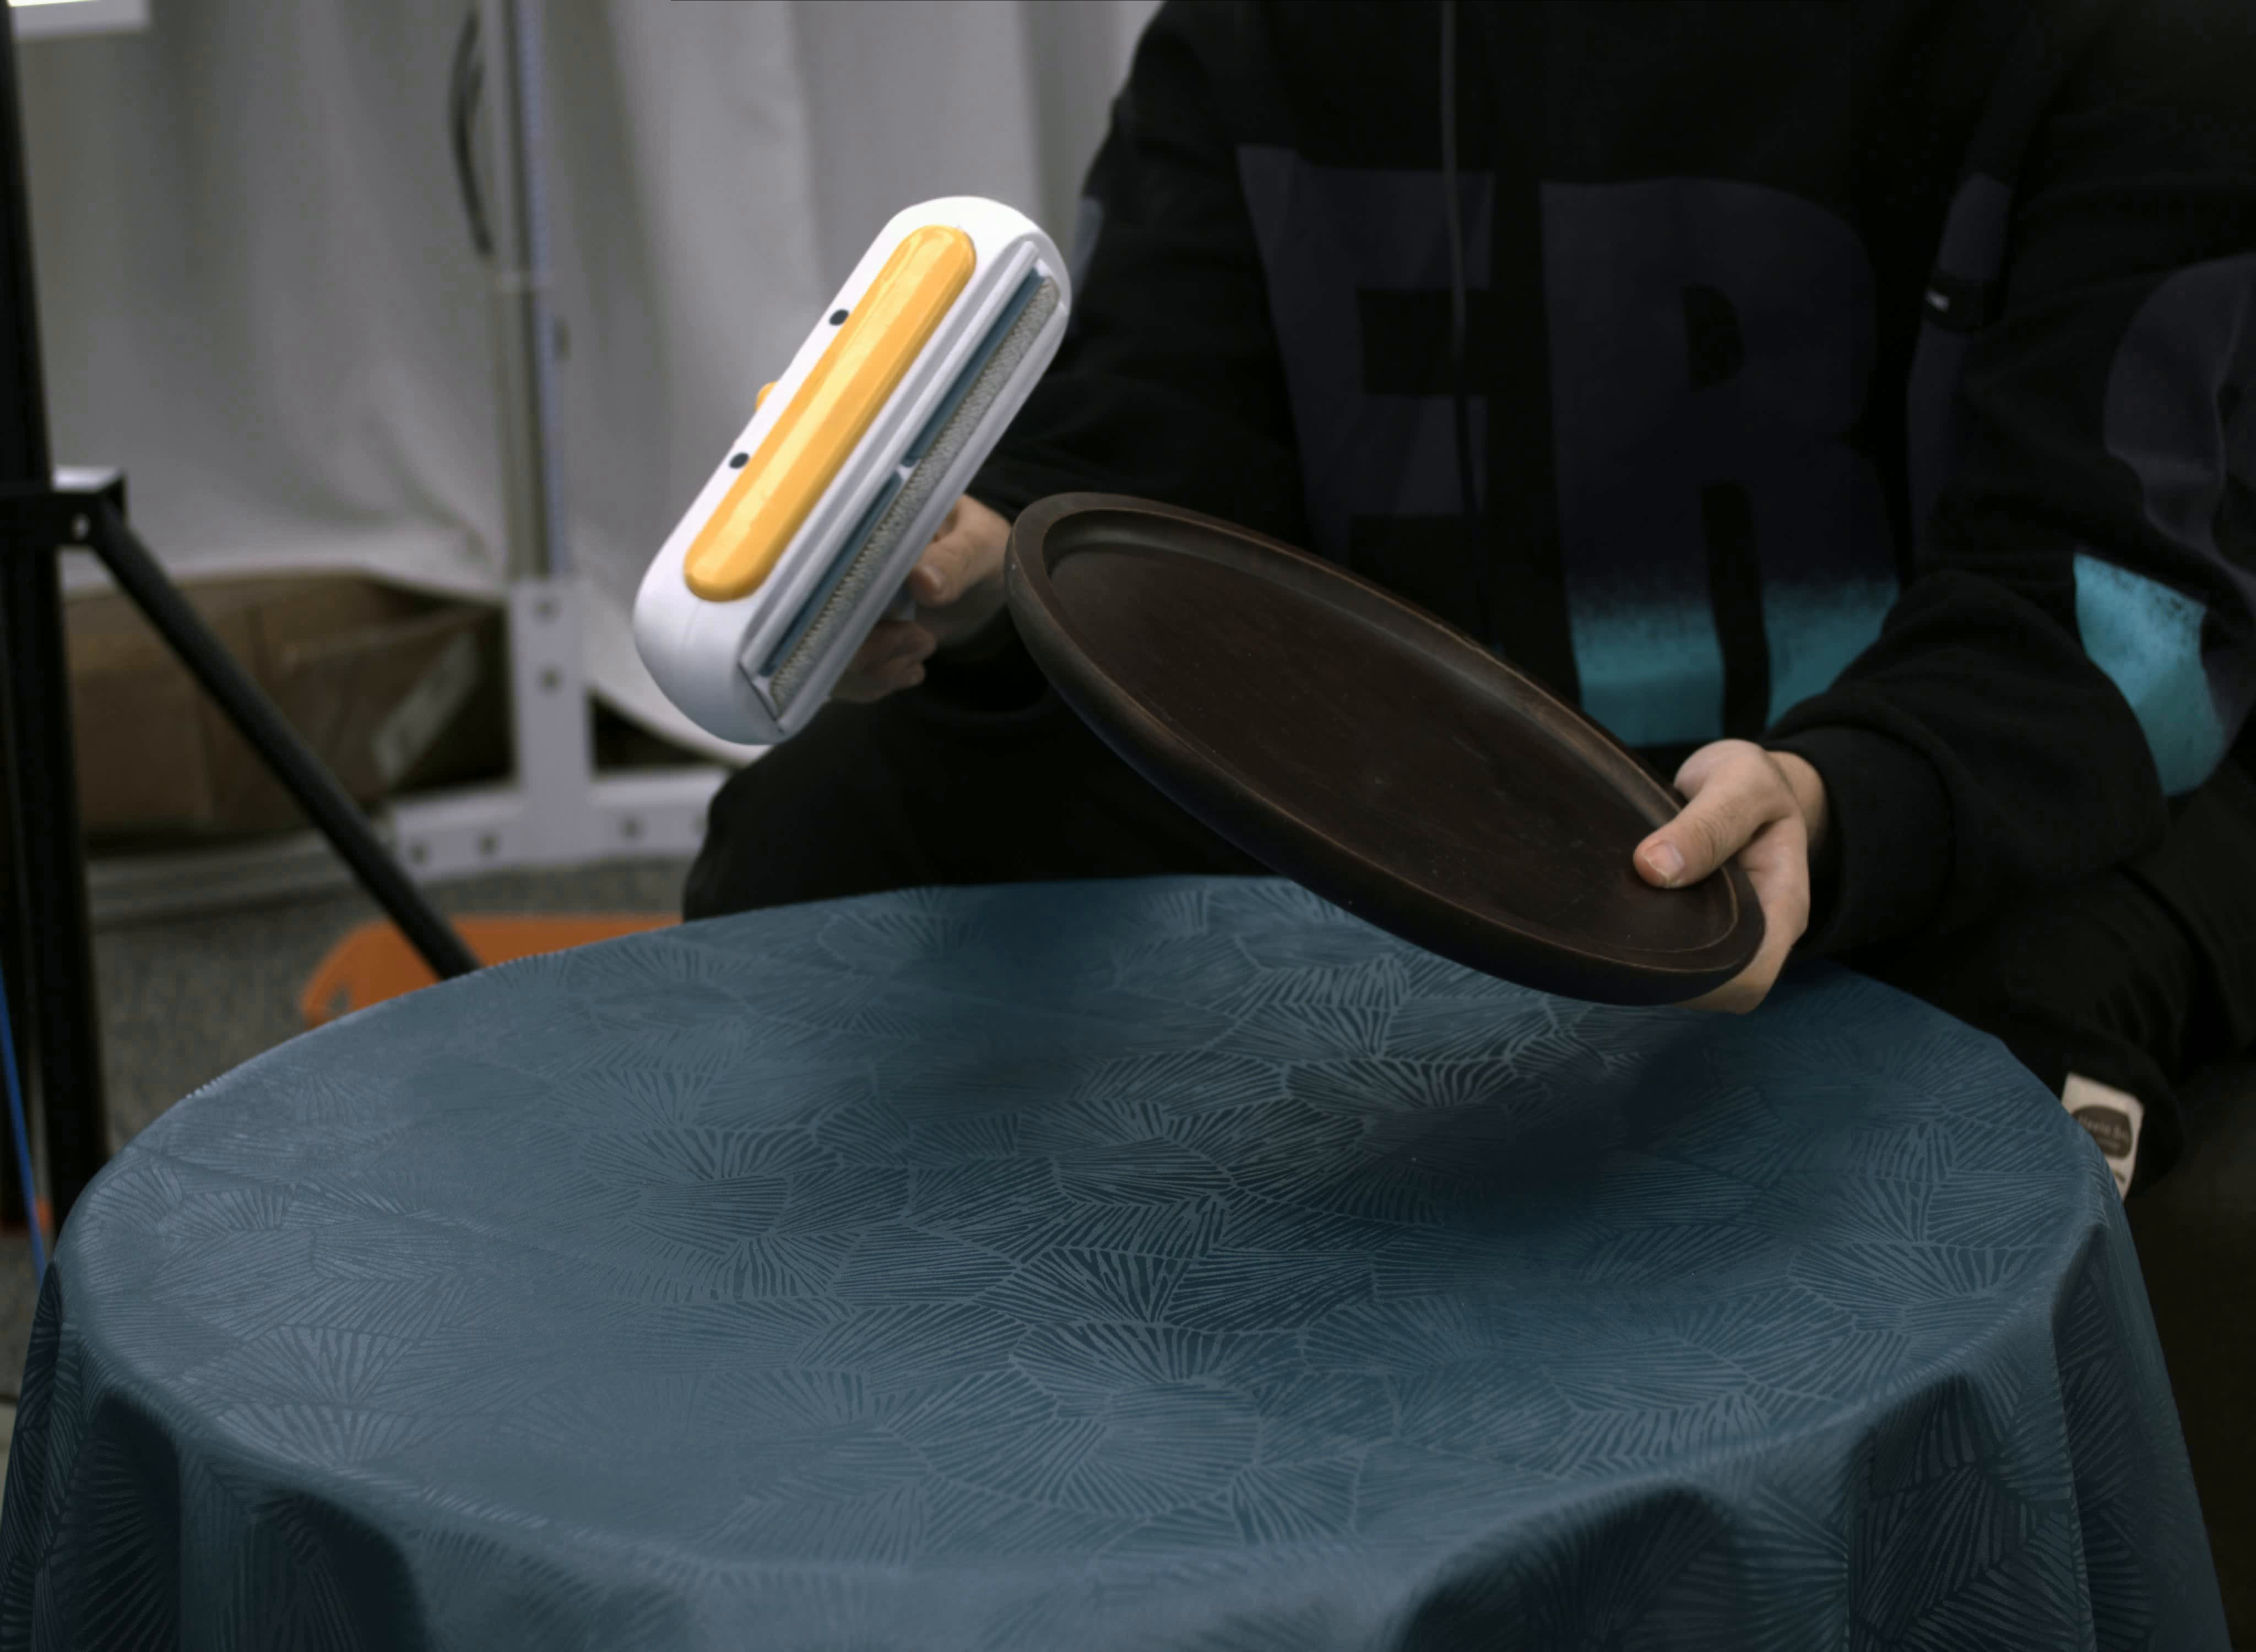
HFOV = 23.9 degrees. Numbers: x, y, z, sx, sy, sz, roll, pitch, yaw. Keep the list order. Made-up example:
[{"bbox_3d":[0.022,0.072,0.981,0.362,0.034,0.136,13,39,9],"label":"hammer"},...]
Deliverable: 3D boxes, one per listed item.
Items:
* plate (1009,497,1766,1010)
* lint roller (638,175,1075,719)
[{"bbox_3d":[0.074,-0.022,1.564,0.252,0.029,0.256,27,18,-11],"label":"plate"},{"bbox_3d":[-0.084,-0.092,1.716,0.075,0.190,0.192,22,65,19],"label":"lint roller"}]
